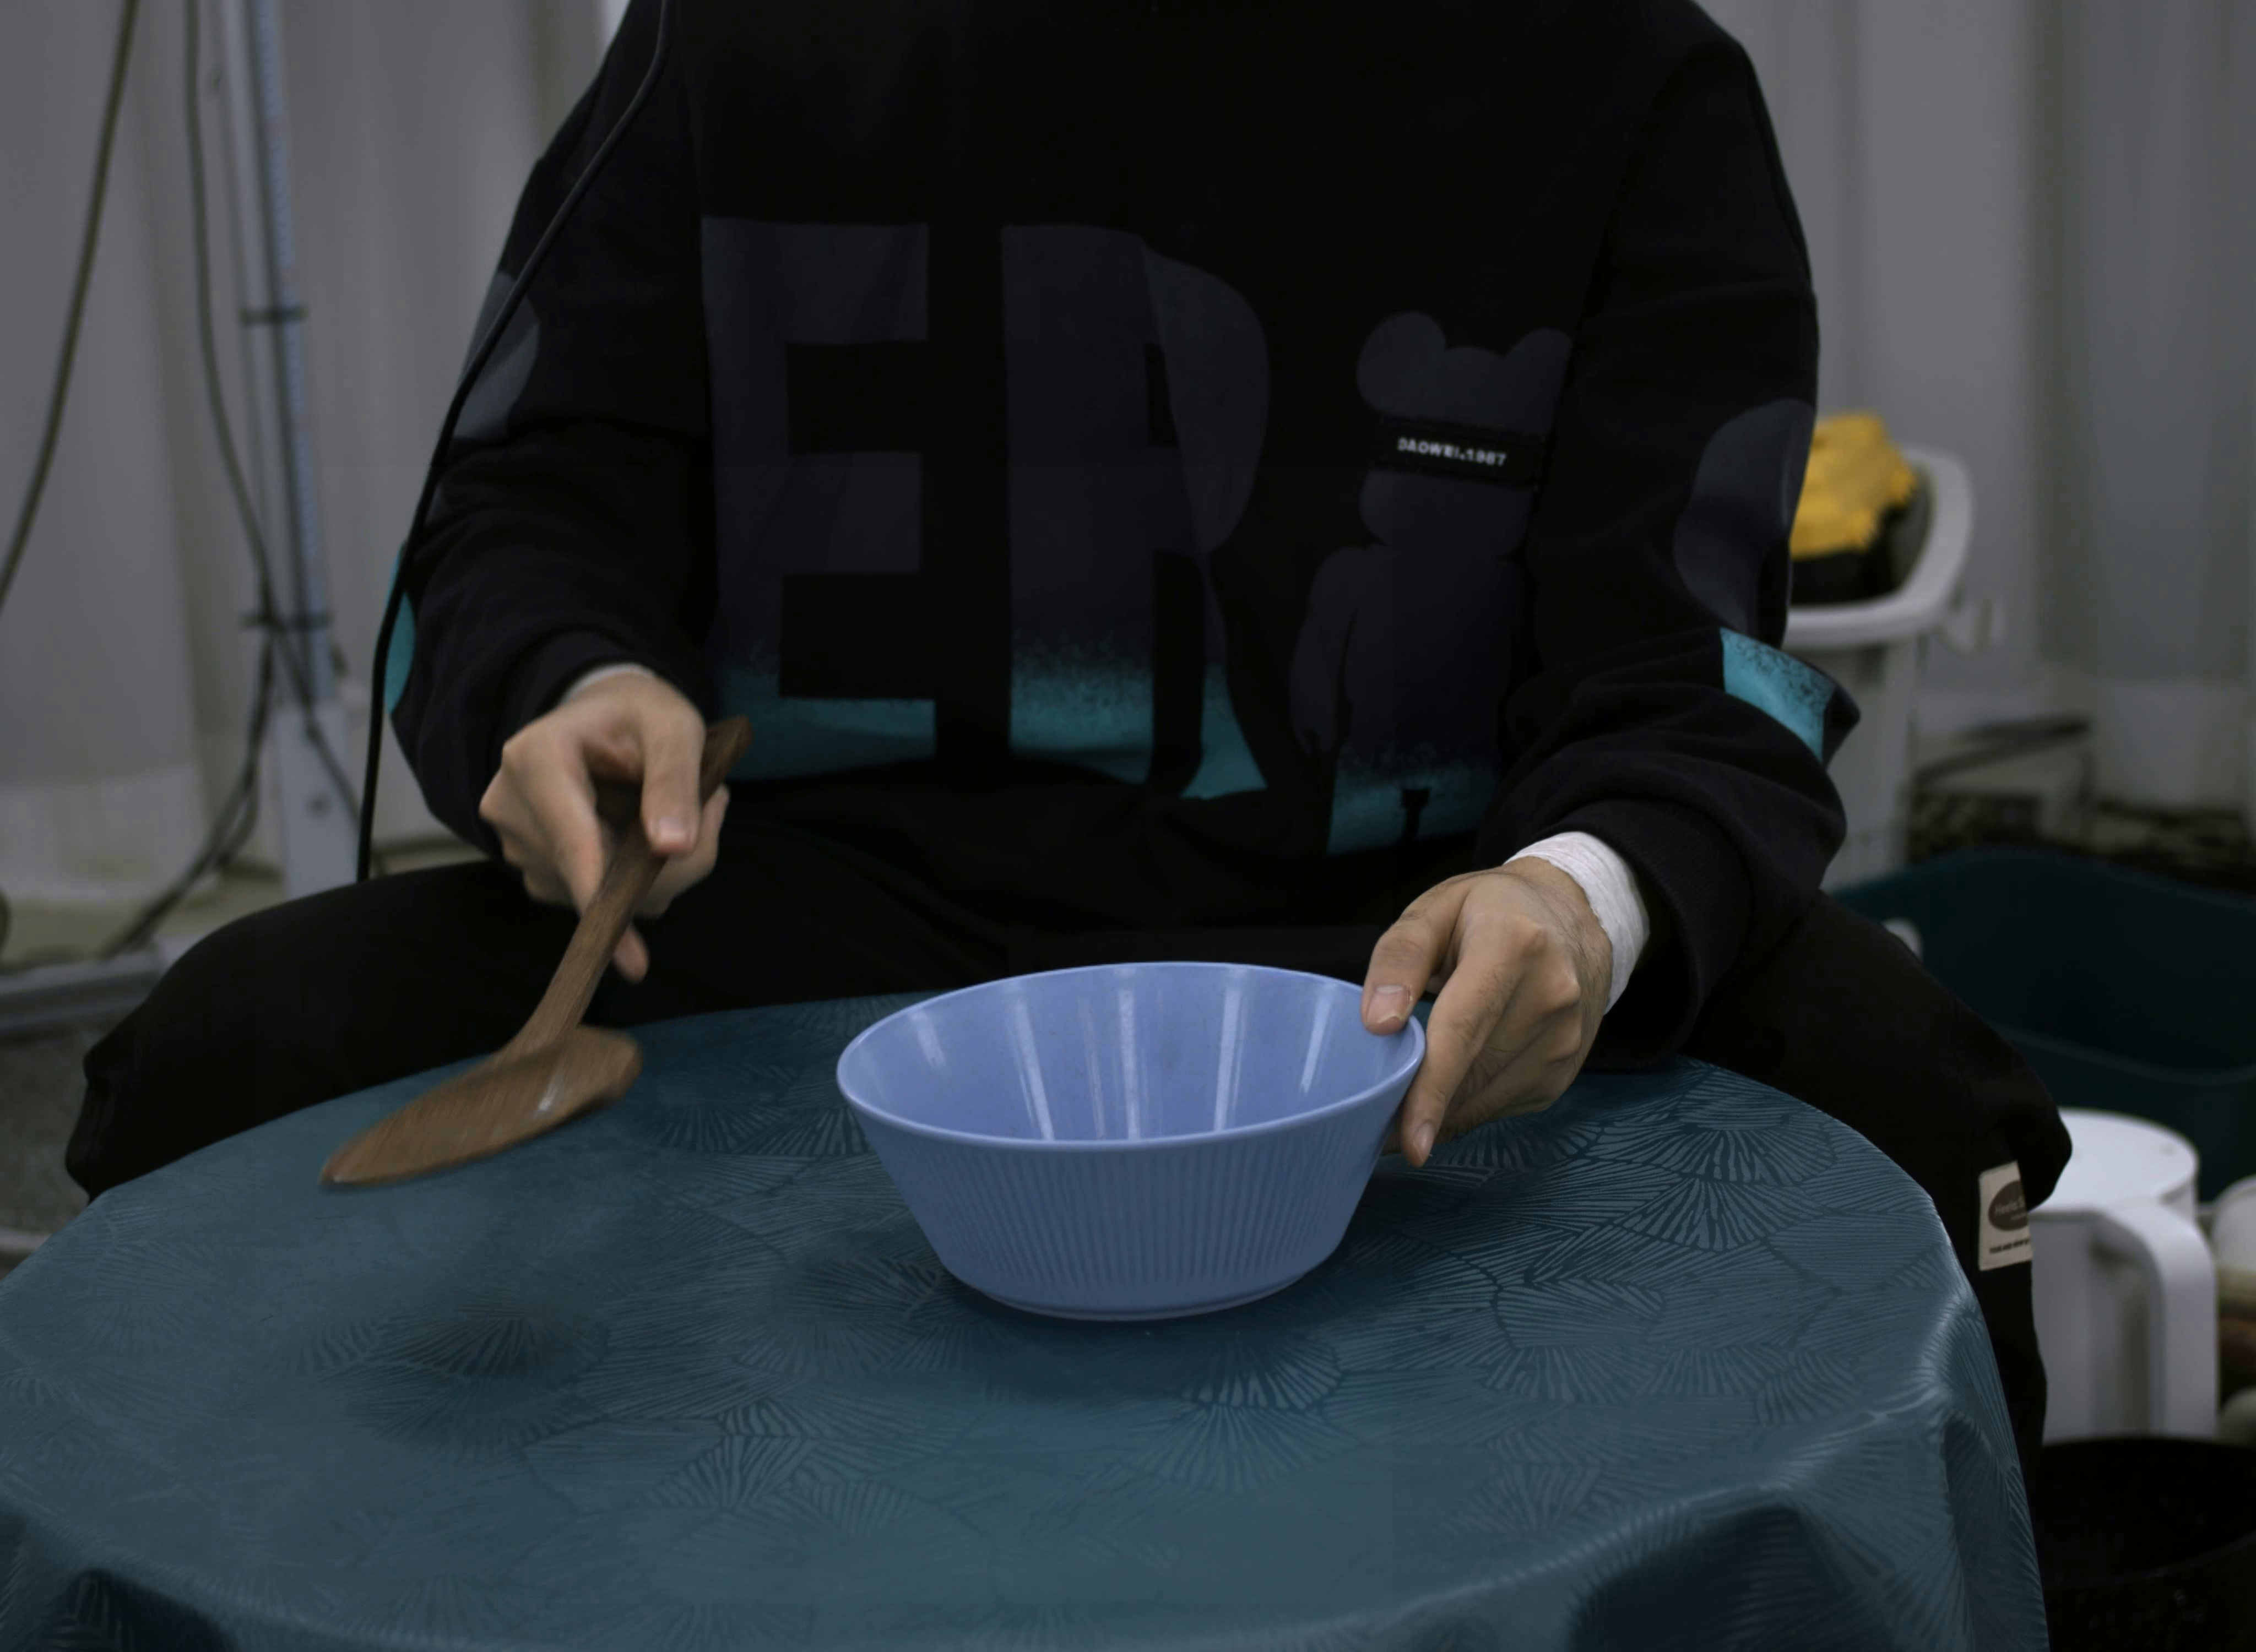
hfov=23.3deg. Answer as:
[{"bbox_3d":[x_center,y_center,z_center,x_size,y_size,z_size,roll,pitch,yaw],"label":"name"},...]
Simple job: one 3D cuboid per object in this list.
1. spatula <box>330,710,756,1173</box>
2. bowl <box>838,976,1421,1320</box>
[{"bbox_3d":[-0.165,0.027,1.734,0.096,0.015,0.389,-17,17,13],"label":"spatula"},{"bbox_3d":[0.002,0.099,1.640,0.175,0.070,0.177,-3,14,0],"label":"bowl"}]
